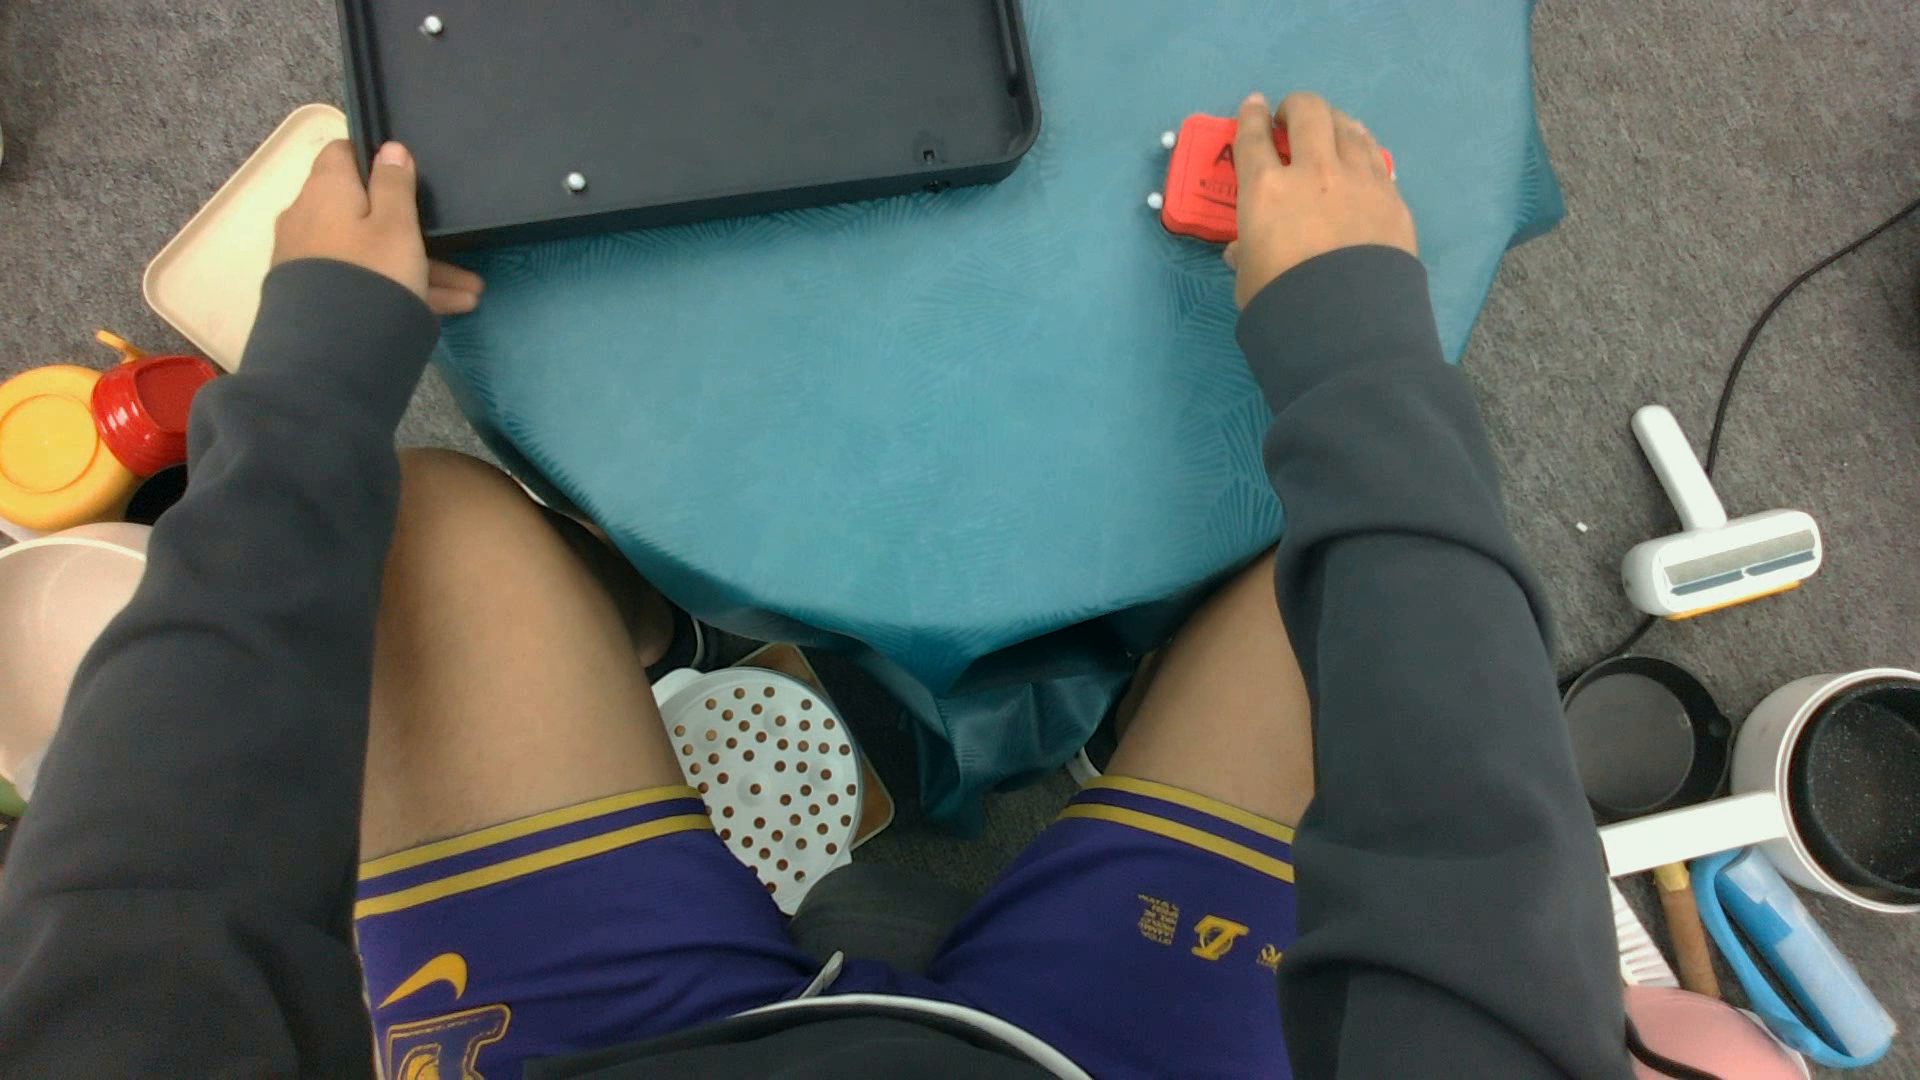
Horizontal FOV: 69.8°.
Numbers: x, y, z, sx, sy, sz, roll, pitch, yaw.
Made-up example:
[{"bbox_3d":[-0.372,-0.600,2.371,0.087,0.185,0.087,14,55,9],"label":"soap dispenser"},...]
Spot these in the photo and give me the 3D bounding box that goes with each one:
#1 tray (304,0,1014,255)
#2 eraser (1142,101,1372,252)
[{"bbox_3d":[-0.144,-0.251,0.670,0.318,0.037,0.184,-12,86,-9],"label":"tray"},{"bbox_3d":[0.149,-0.183,0.695,0.108,0.023,0.059,10,92,-4],"label":"eraser"}]
